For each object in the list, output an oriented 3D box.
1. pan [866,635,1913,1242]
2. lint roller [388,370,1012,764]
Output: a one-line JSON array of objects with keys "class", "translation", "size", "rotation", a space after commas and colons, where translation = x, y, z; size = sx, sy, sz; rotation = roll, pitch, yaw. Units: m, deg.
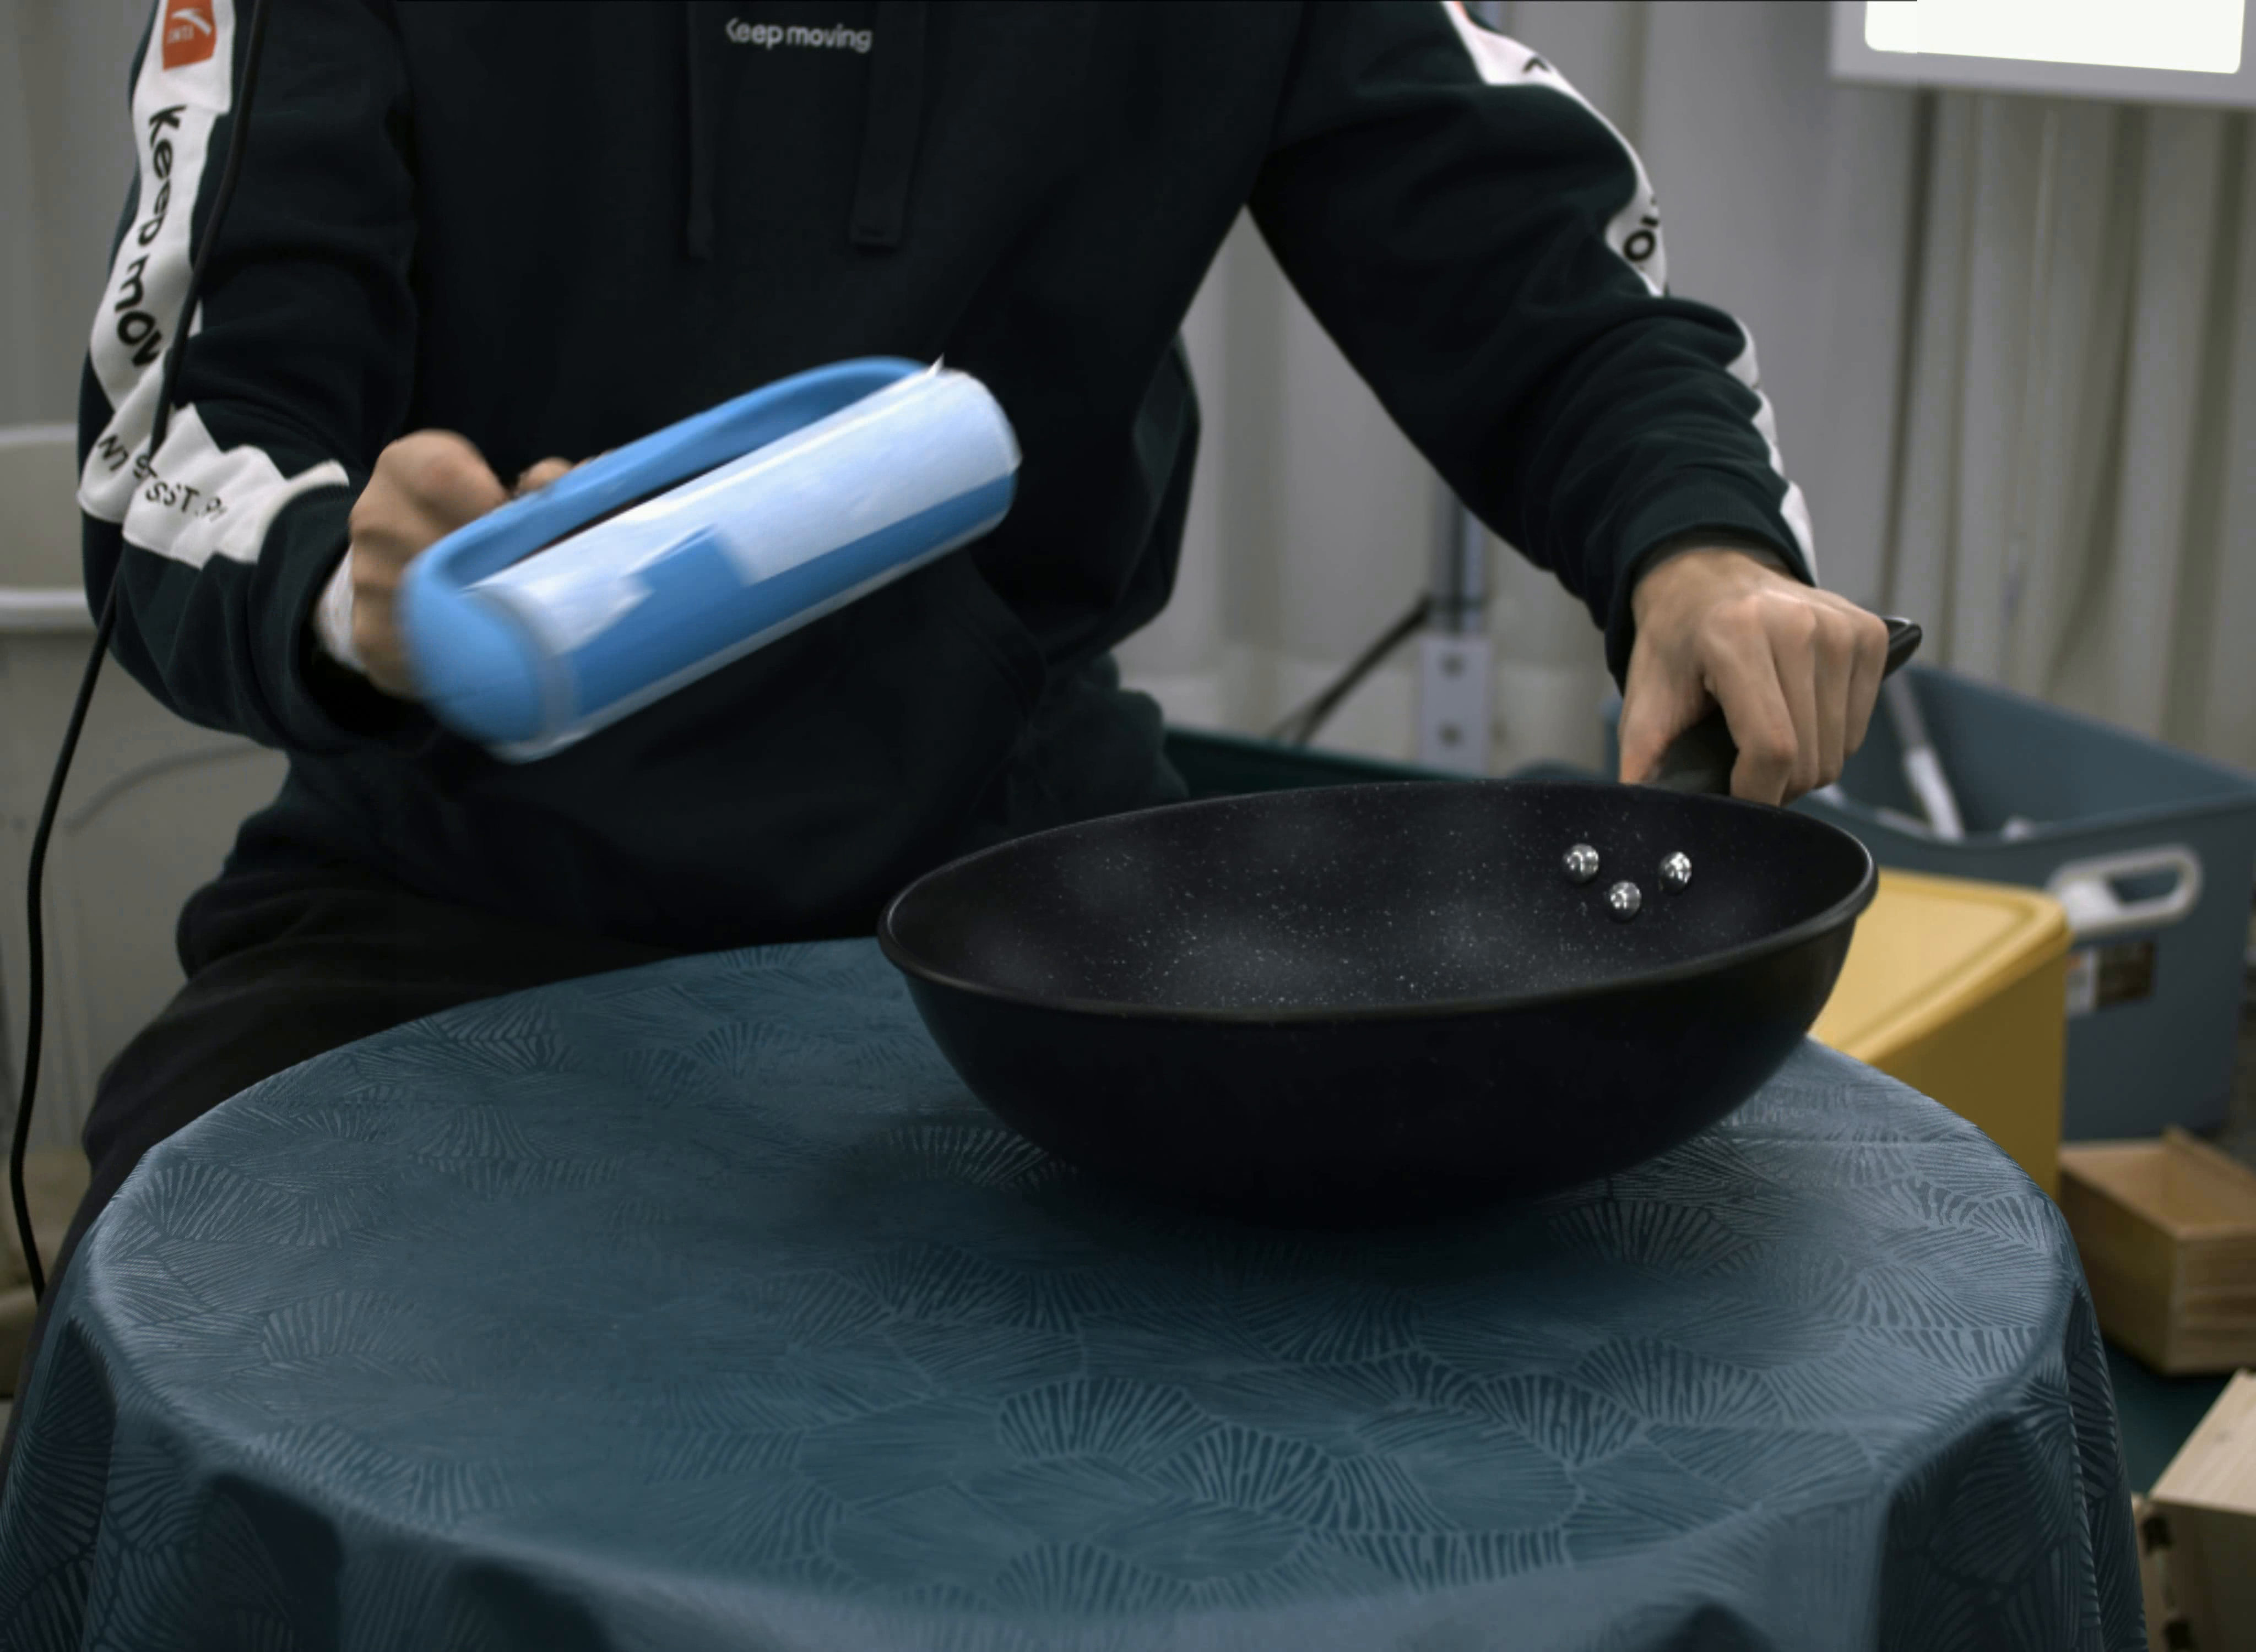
[{"class": "pan", "translation": [0.125, 0.035, 1.684], "size": [0.306, 0.112, 0.479], "rotation": [8, 16, 36]}, {"class": "lint roller", "translation": [-0.161, -0.074, 1.586], "size": [0.178, 0.068, 0.229], "rotation": [-5, 19, 43]}]
